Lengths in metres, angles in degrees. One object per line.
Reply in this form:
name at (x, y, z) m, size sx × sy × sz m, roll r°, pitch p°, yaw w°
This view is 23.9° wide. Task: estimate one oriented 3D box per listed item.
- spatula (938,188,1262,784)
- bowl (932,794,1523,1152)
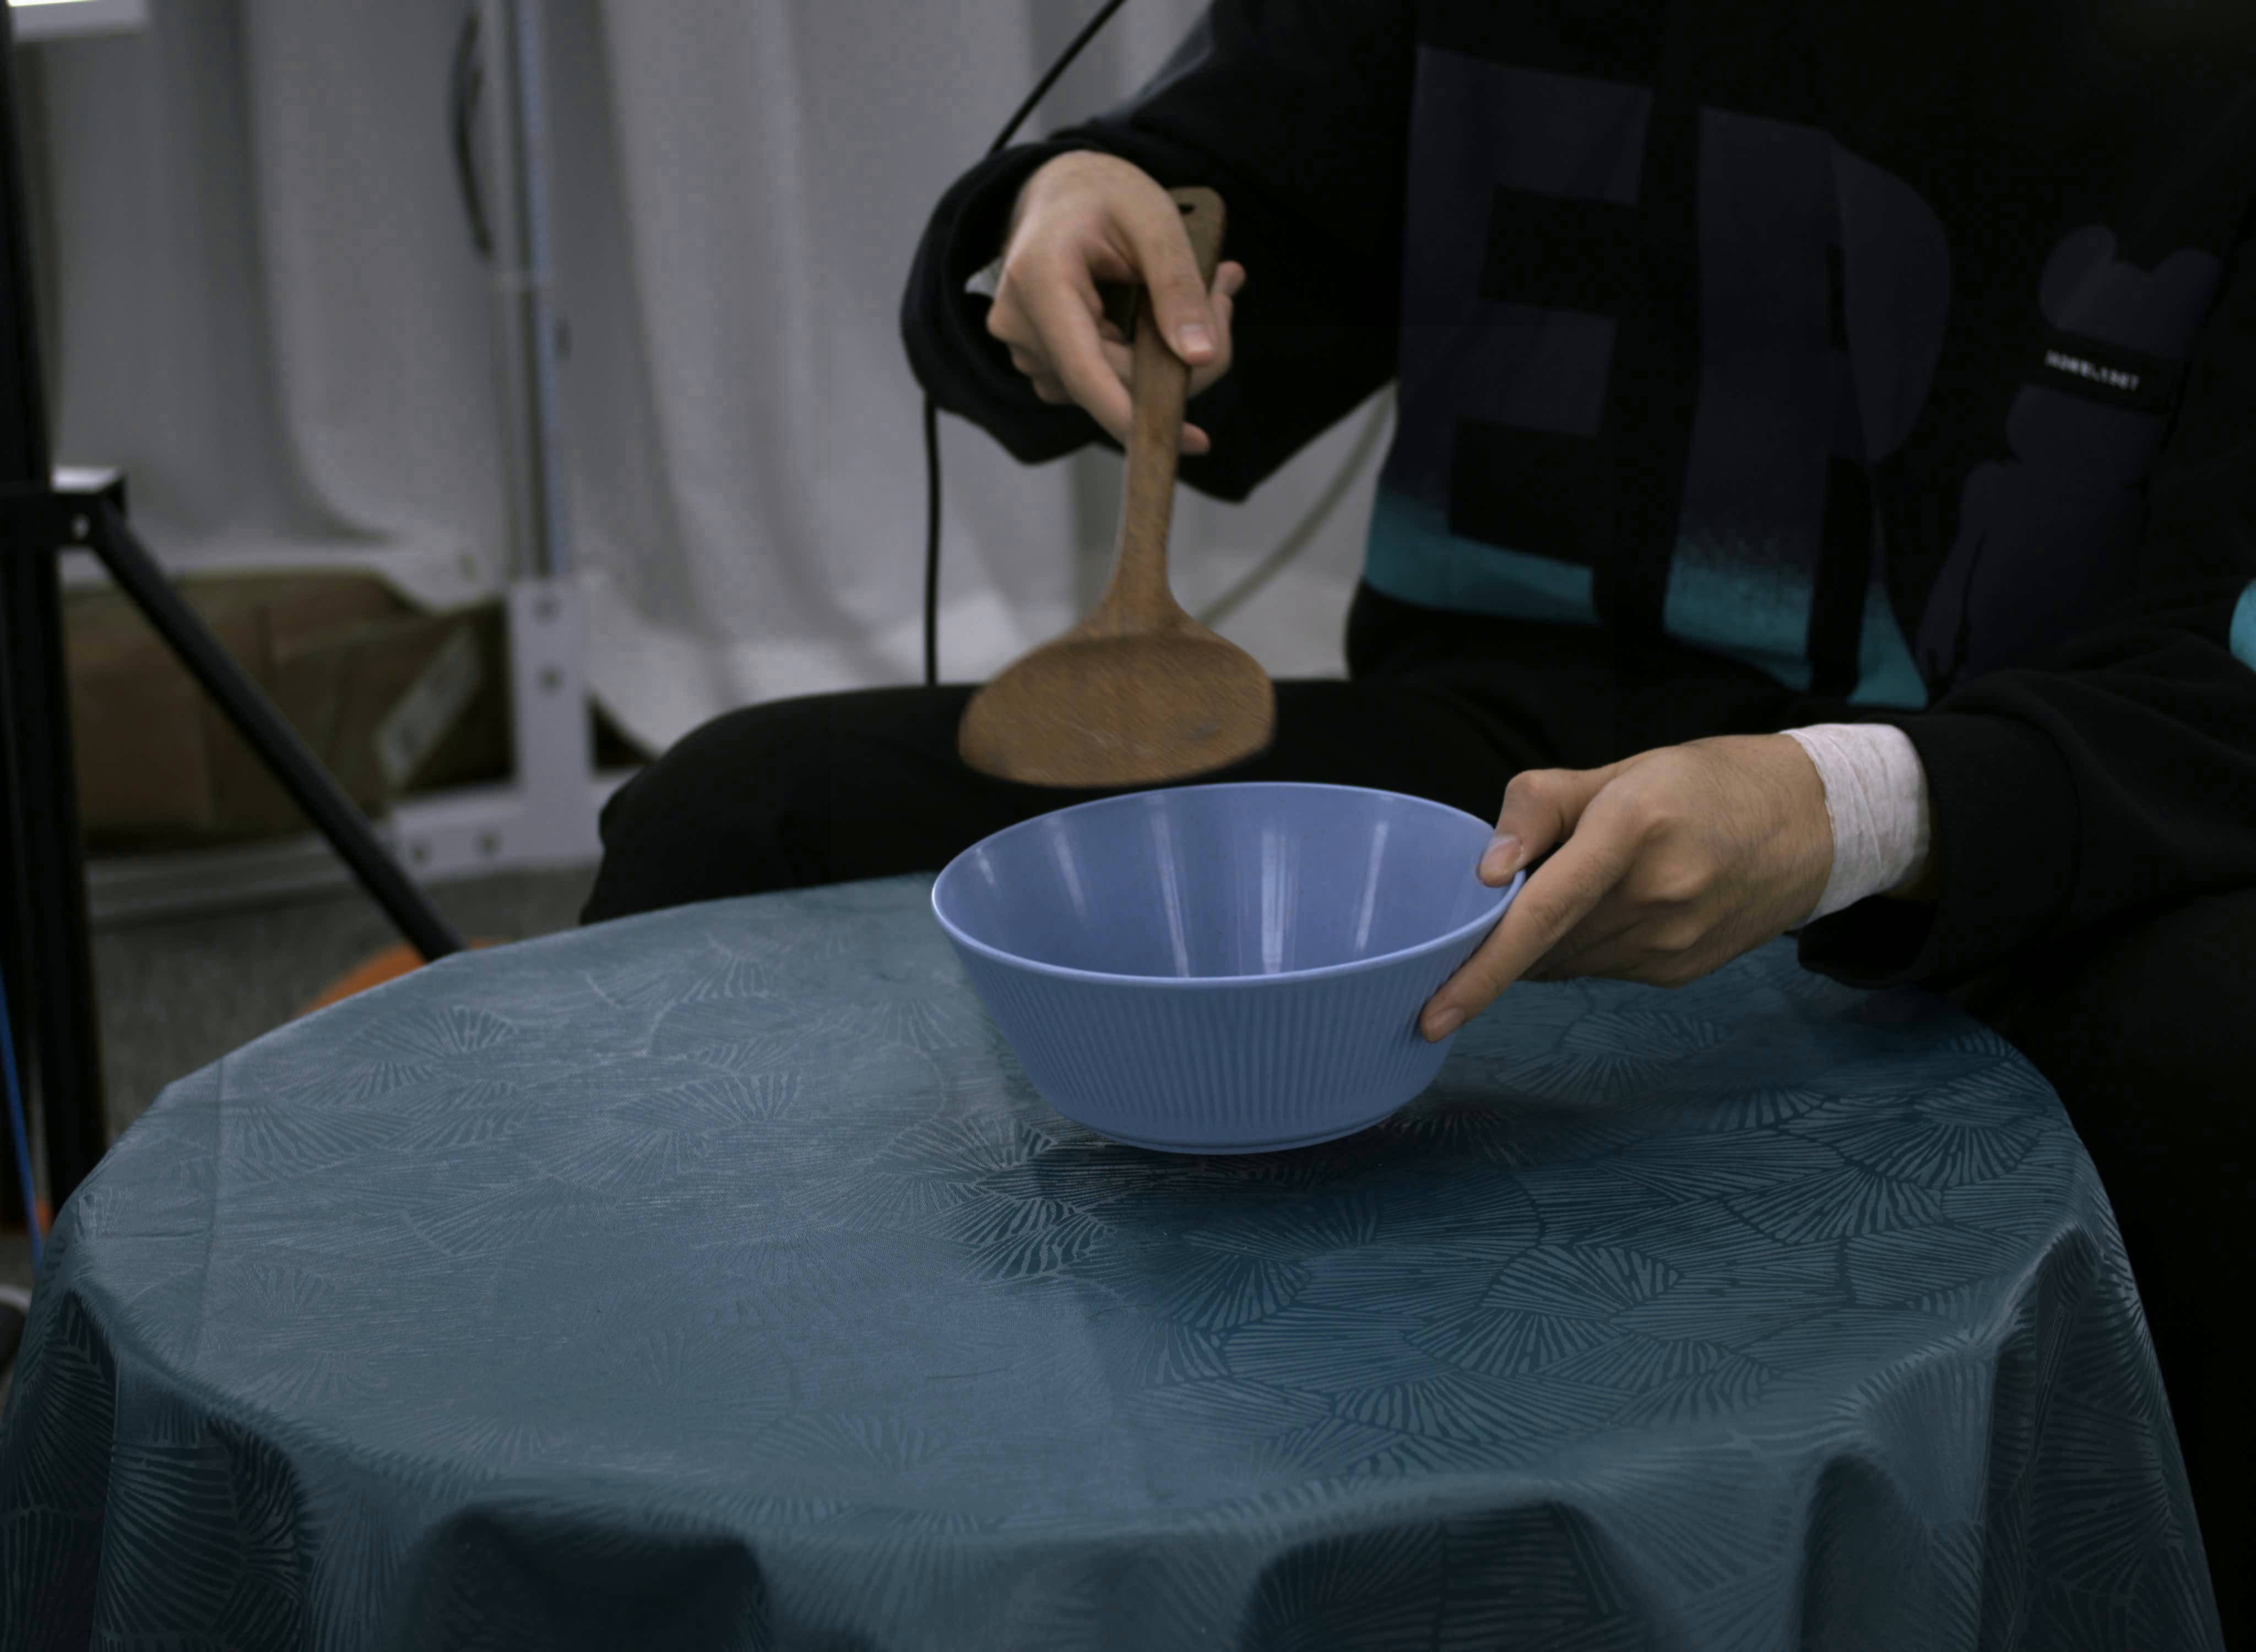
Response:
spatula at (0.004, -0.118, 1.709) m, size 0.096 × 0.015 × 0.388 m, roll -4°, pitch 33°, yaw 8°
bowl at (0.030, 0.046, 1.580) m, size 0.175 × 0.070 × 0.177 m, roll -3°, pitch 18°, yaw 0°
